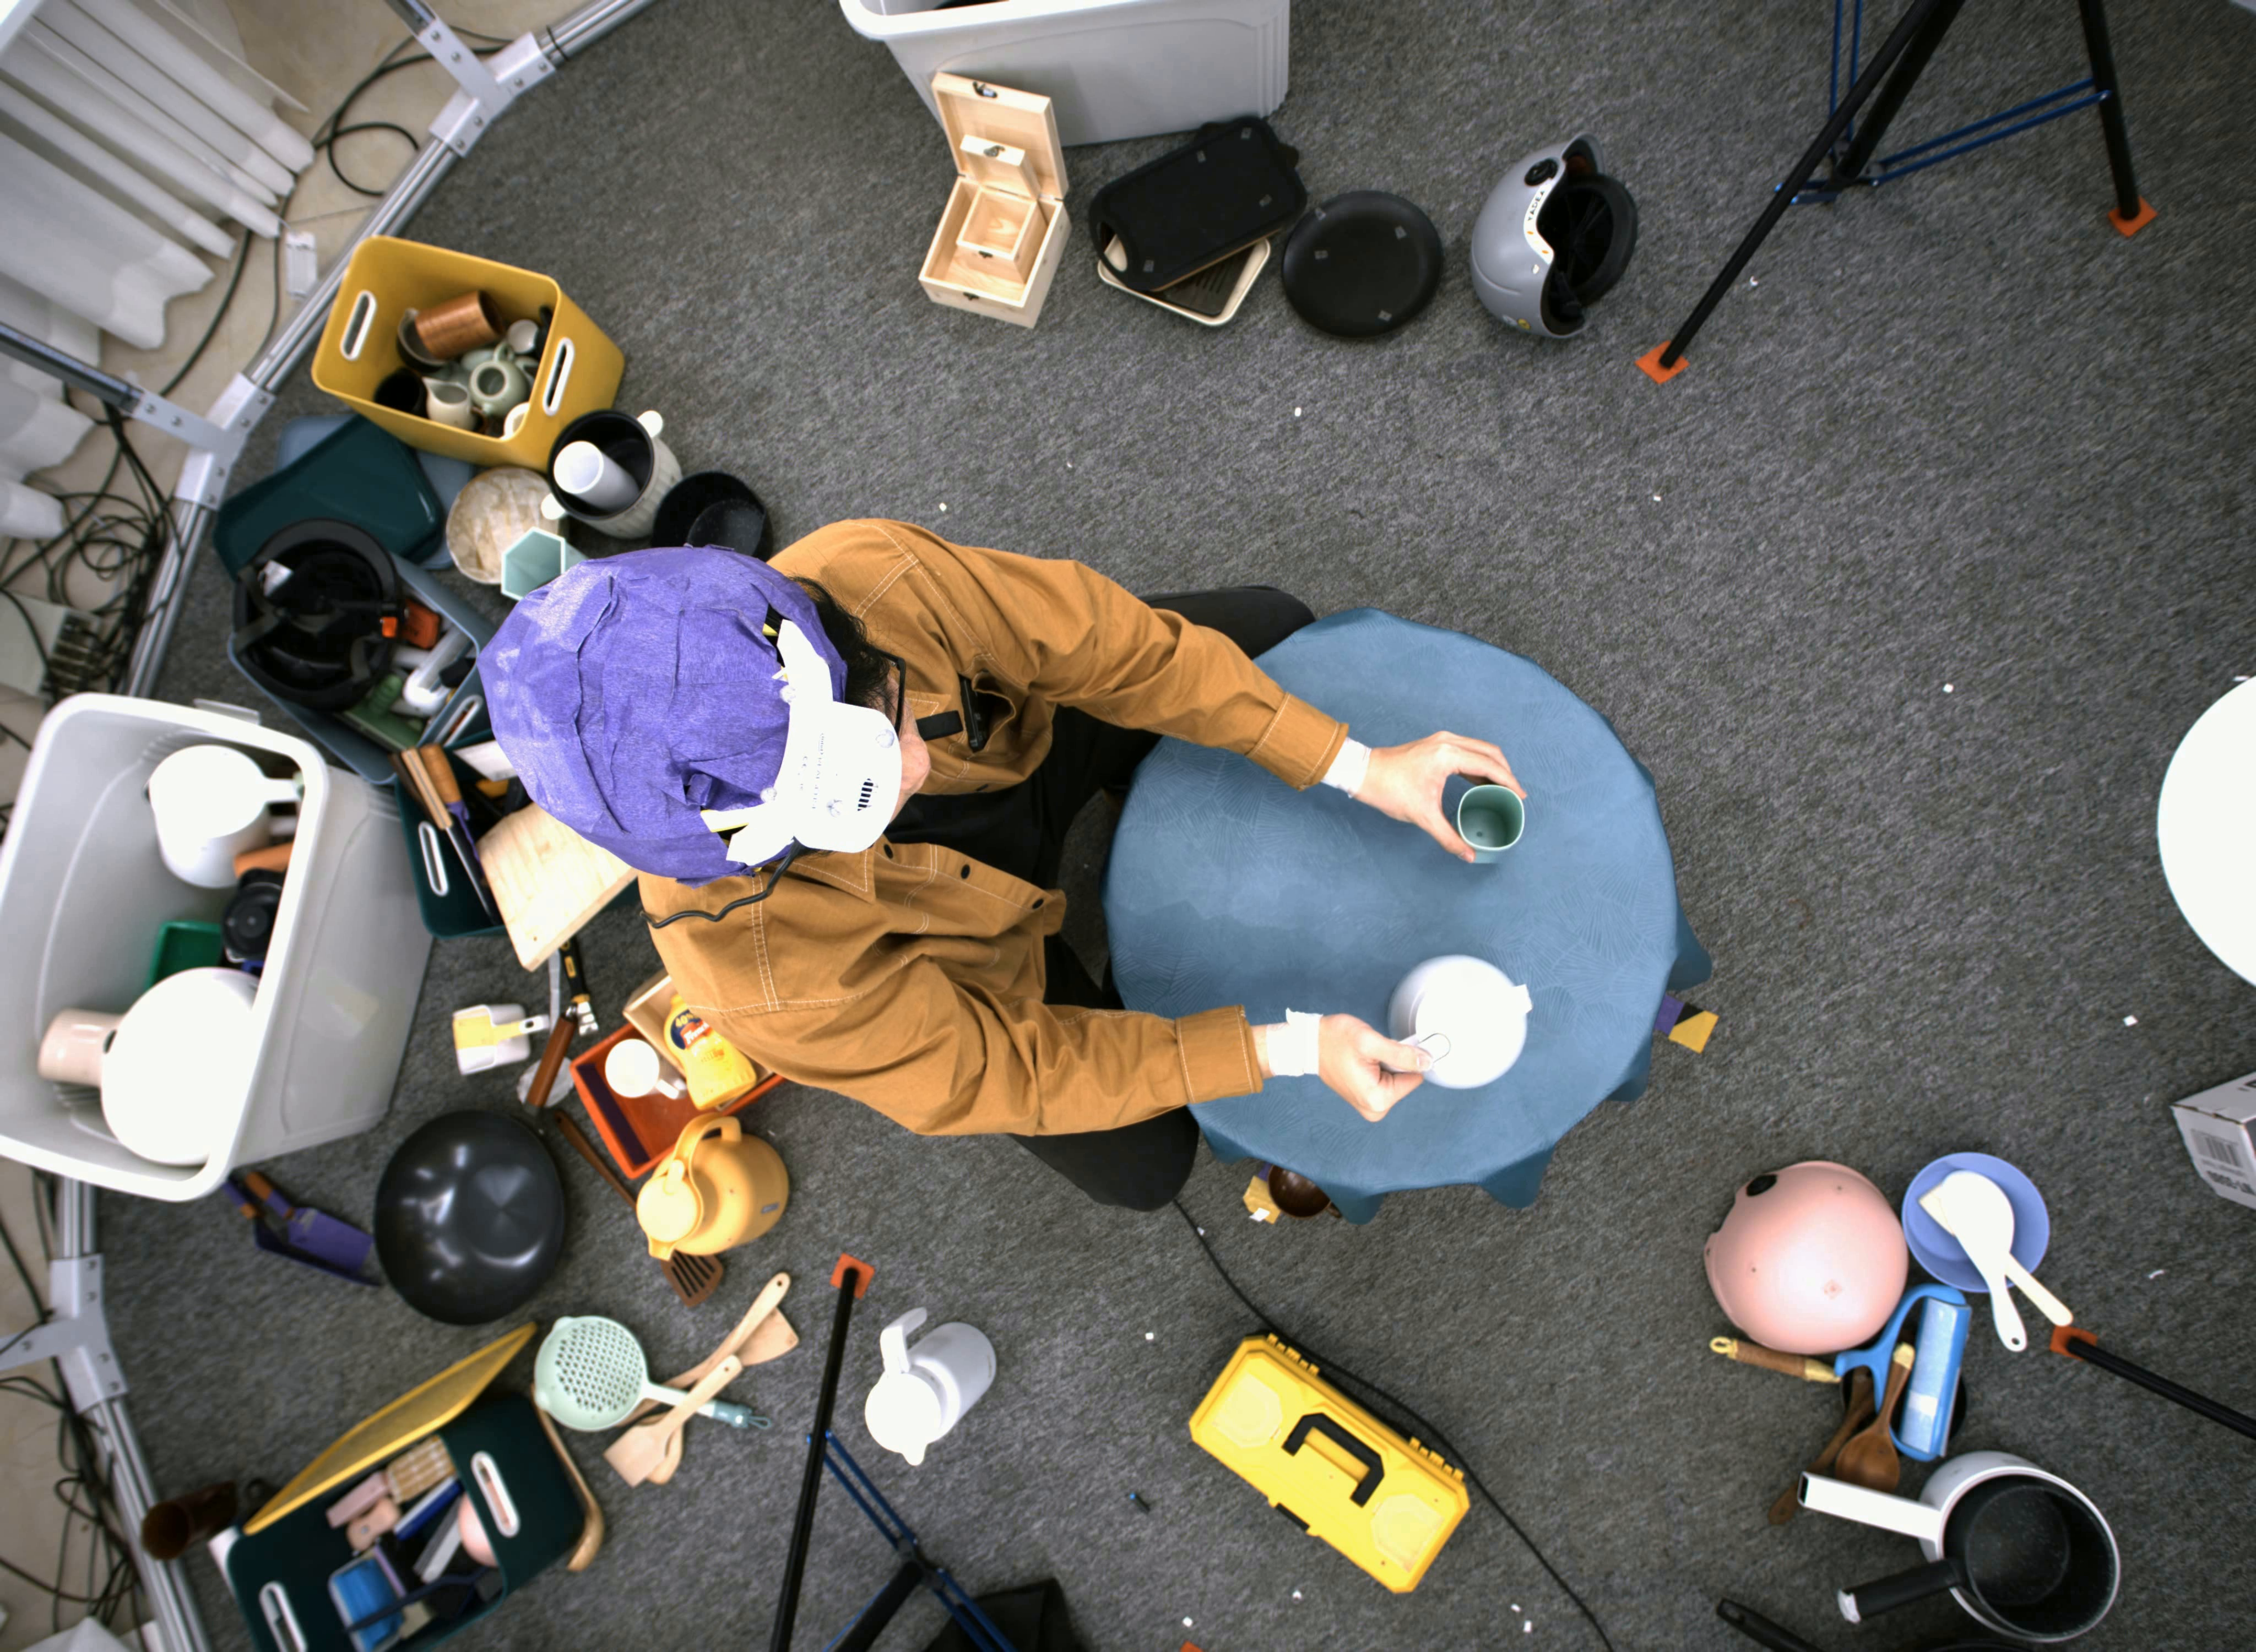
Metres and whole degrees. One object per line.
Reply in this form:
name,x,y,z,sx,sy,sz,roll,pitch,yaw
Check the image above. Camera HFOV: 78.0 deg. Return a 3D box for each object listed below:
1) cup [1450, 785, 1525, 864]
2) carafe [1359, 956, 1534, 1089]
cup,0.359,-0.002,1.384,0.067,0.133,0.066,-1,83,9
carafe,0.301,0.197,1.323,0.169,0.249,0.131,-29,81,7
